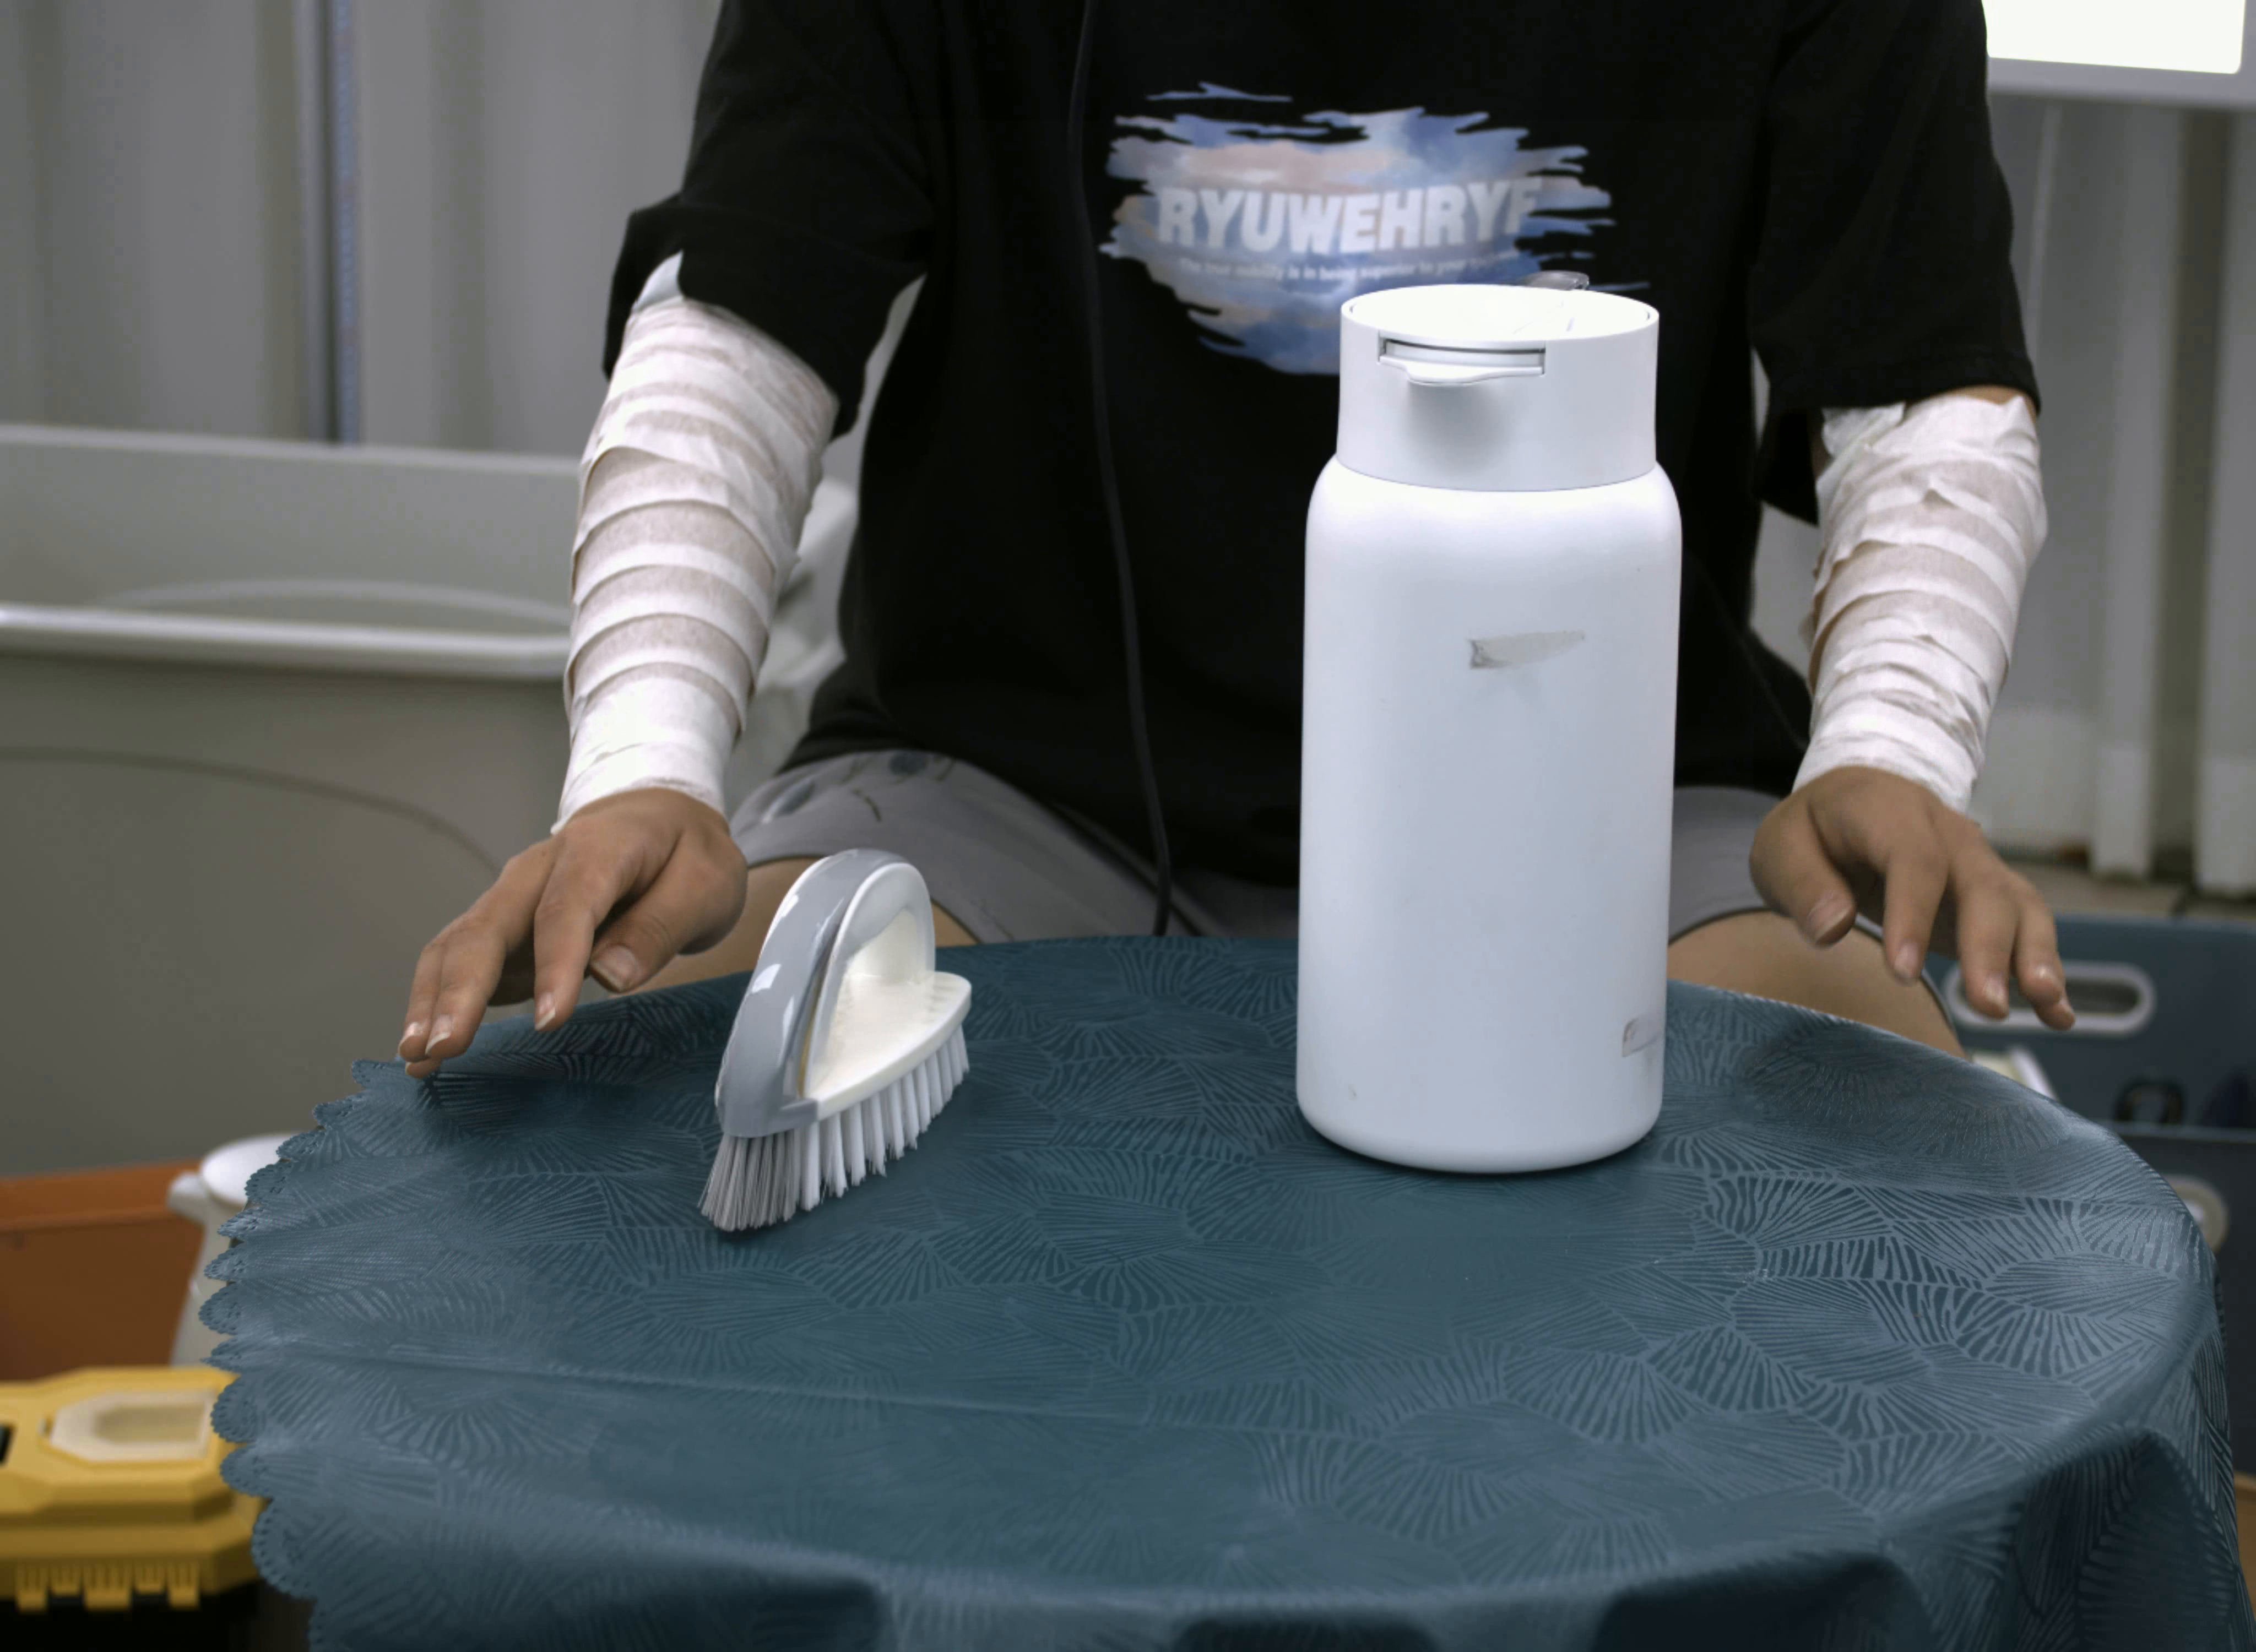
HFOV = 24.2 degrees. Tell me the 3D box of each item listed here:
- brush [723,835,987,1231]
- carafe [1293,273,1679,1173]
[{"bbox_3d":[-0.093,0.059,1.642,0.061,0.095,0.175,3,17,15],"label":"brush"},{"bbox_3d":[0.116,-0.037,1.667,0.123,0.271,0.173,4,16,18],"label":"carafe"}]
